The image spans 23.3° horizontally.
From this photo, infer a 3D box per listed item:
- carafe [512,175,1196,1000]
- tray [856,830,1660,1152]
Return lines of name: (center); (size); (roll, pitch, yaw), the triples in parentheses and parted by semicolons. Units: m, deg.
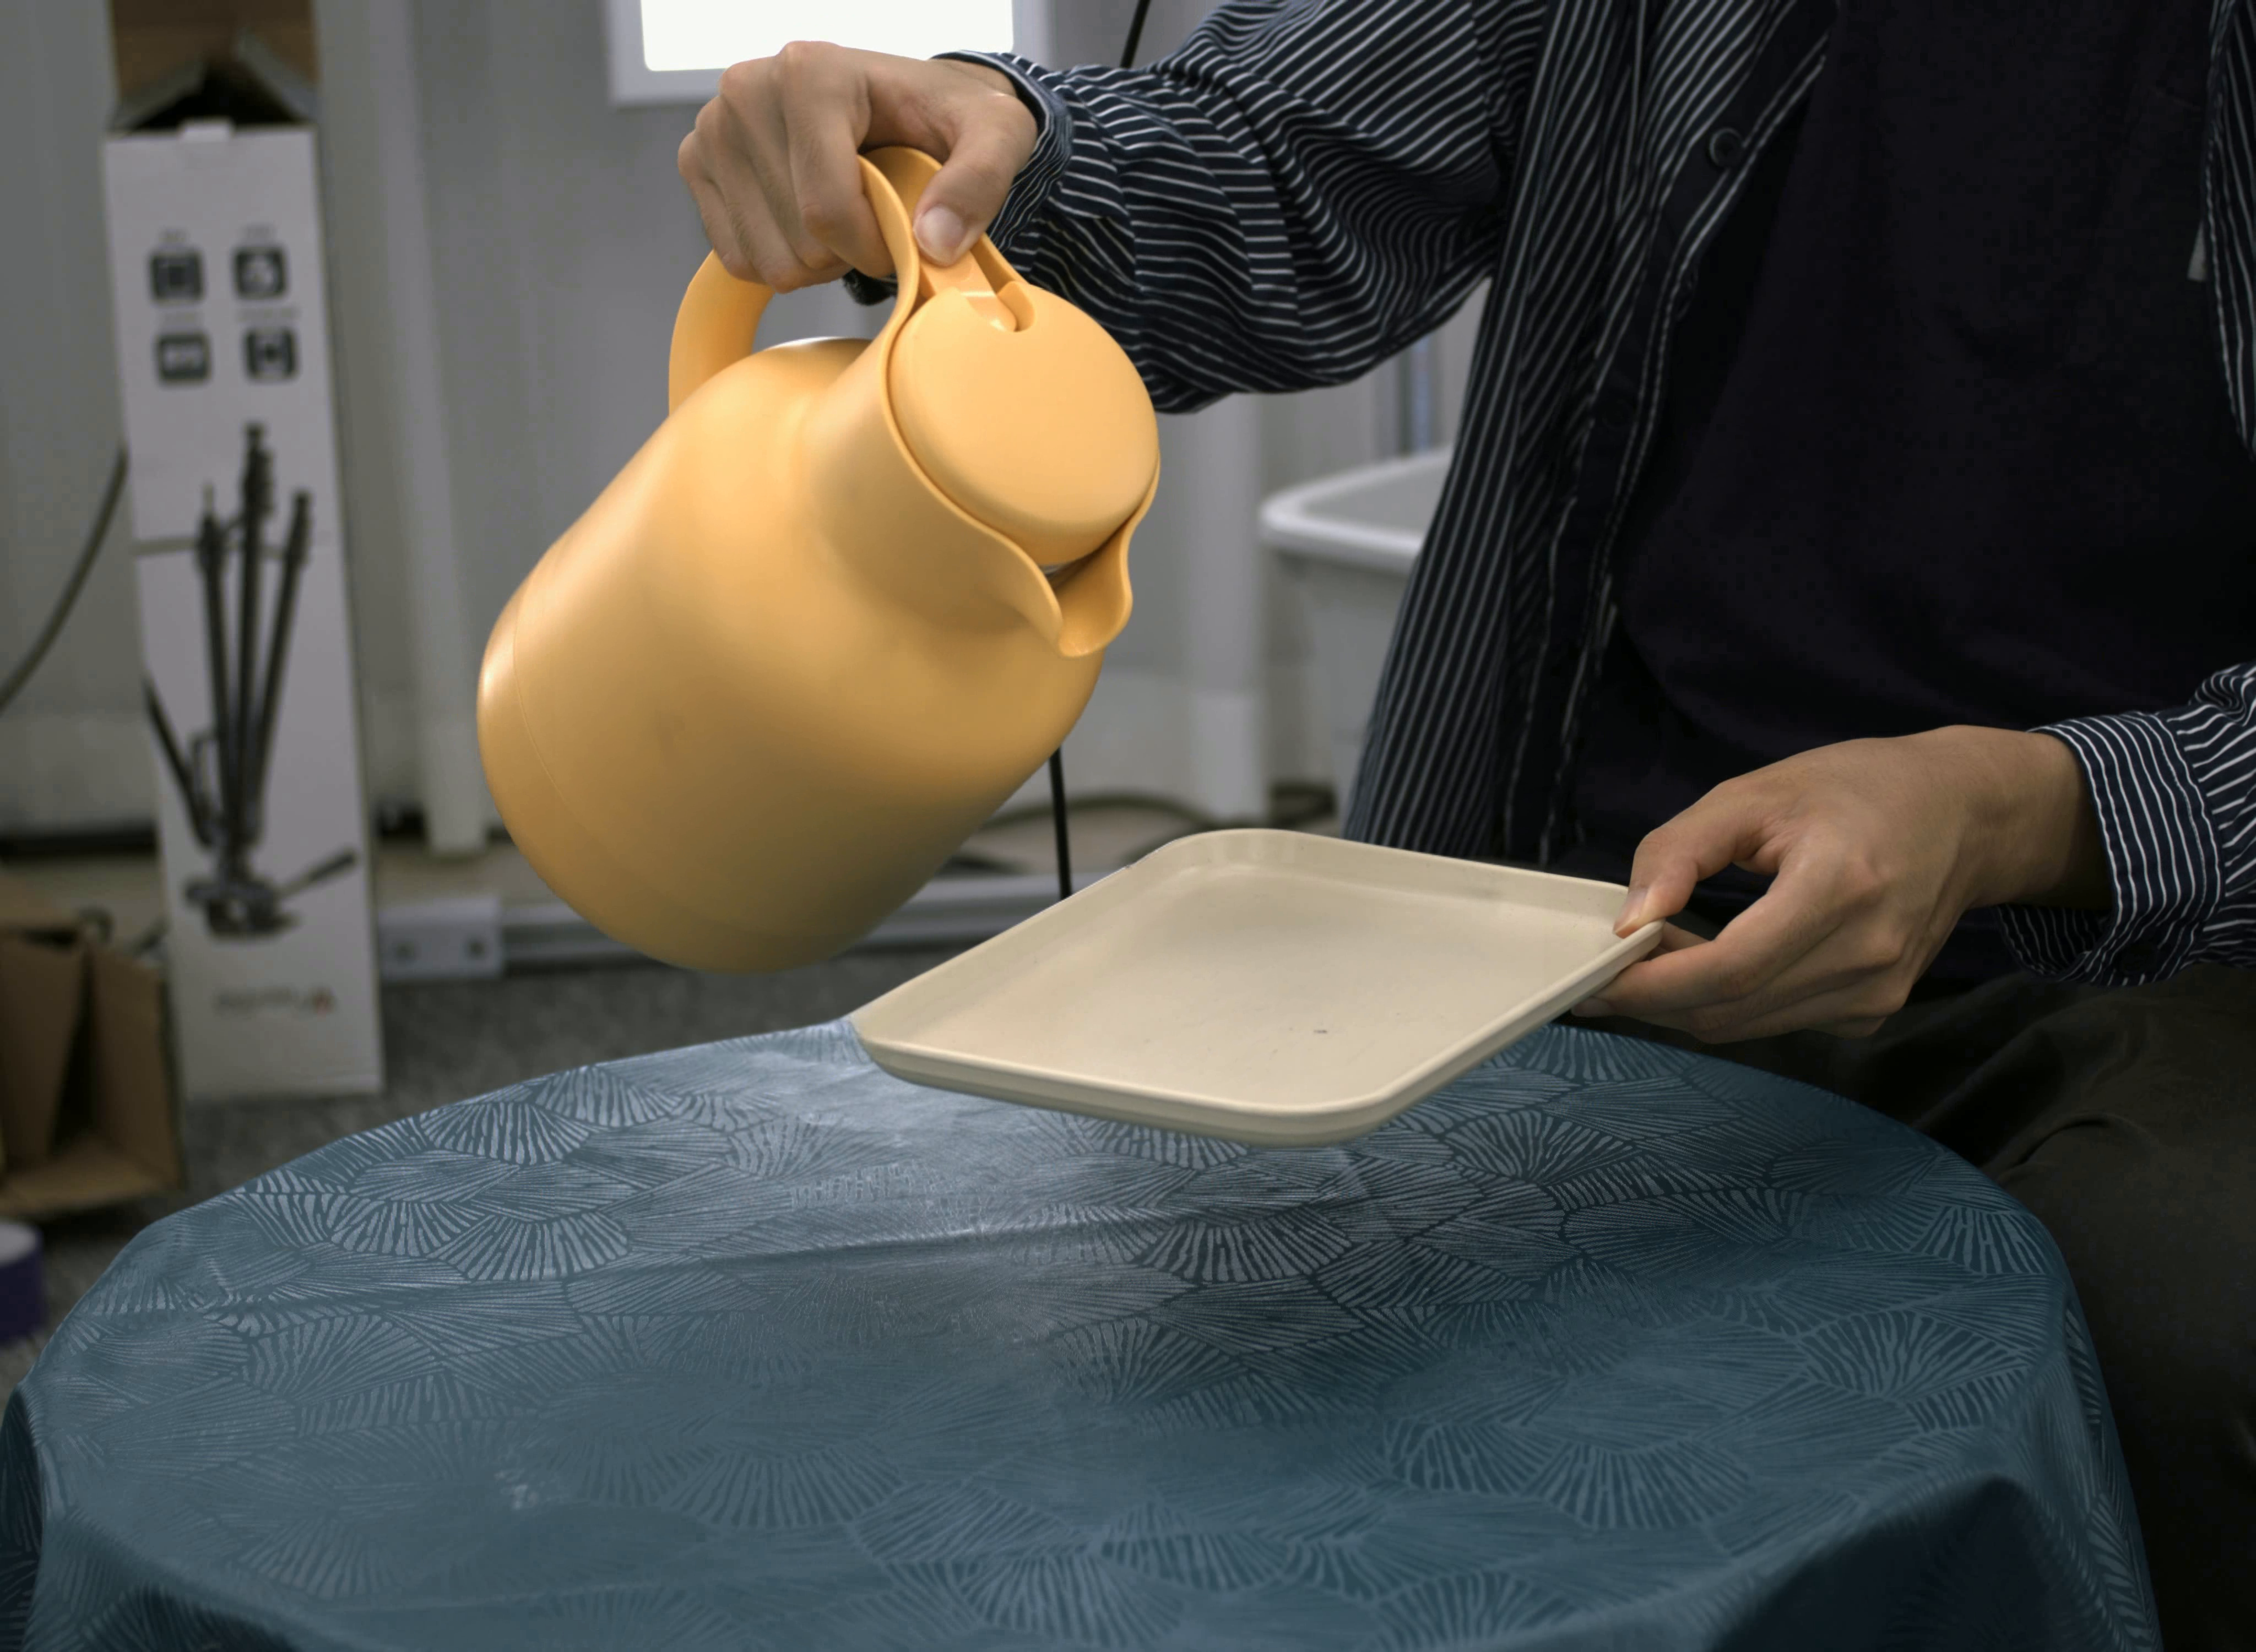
carafe: (-0.084, -0.079, 1.735); (0.163, 0.204, 0.259); (-9, -22, -39)
tray: (0.042, 0.047, 1.617); (0.172, 0.017, 0.240); (9, 19, 28)
